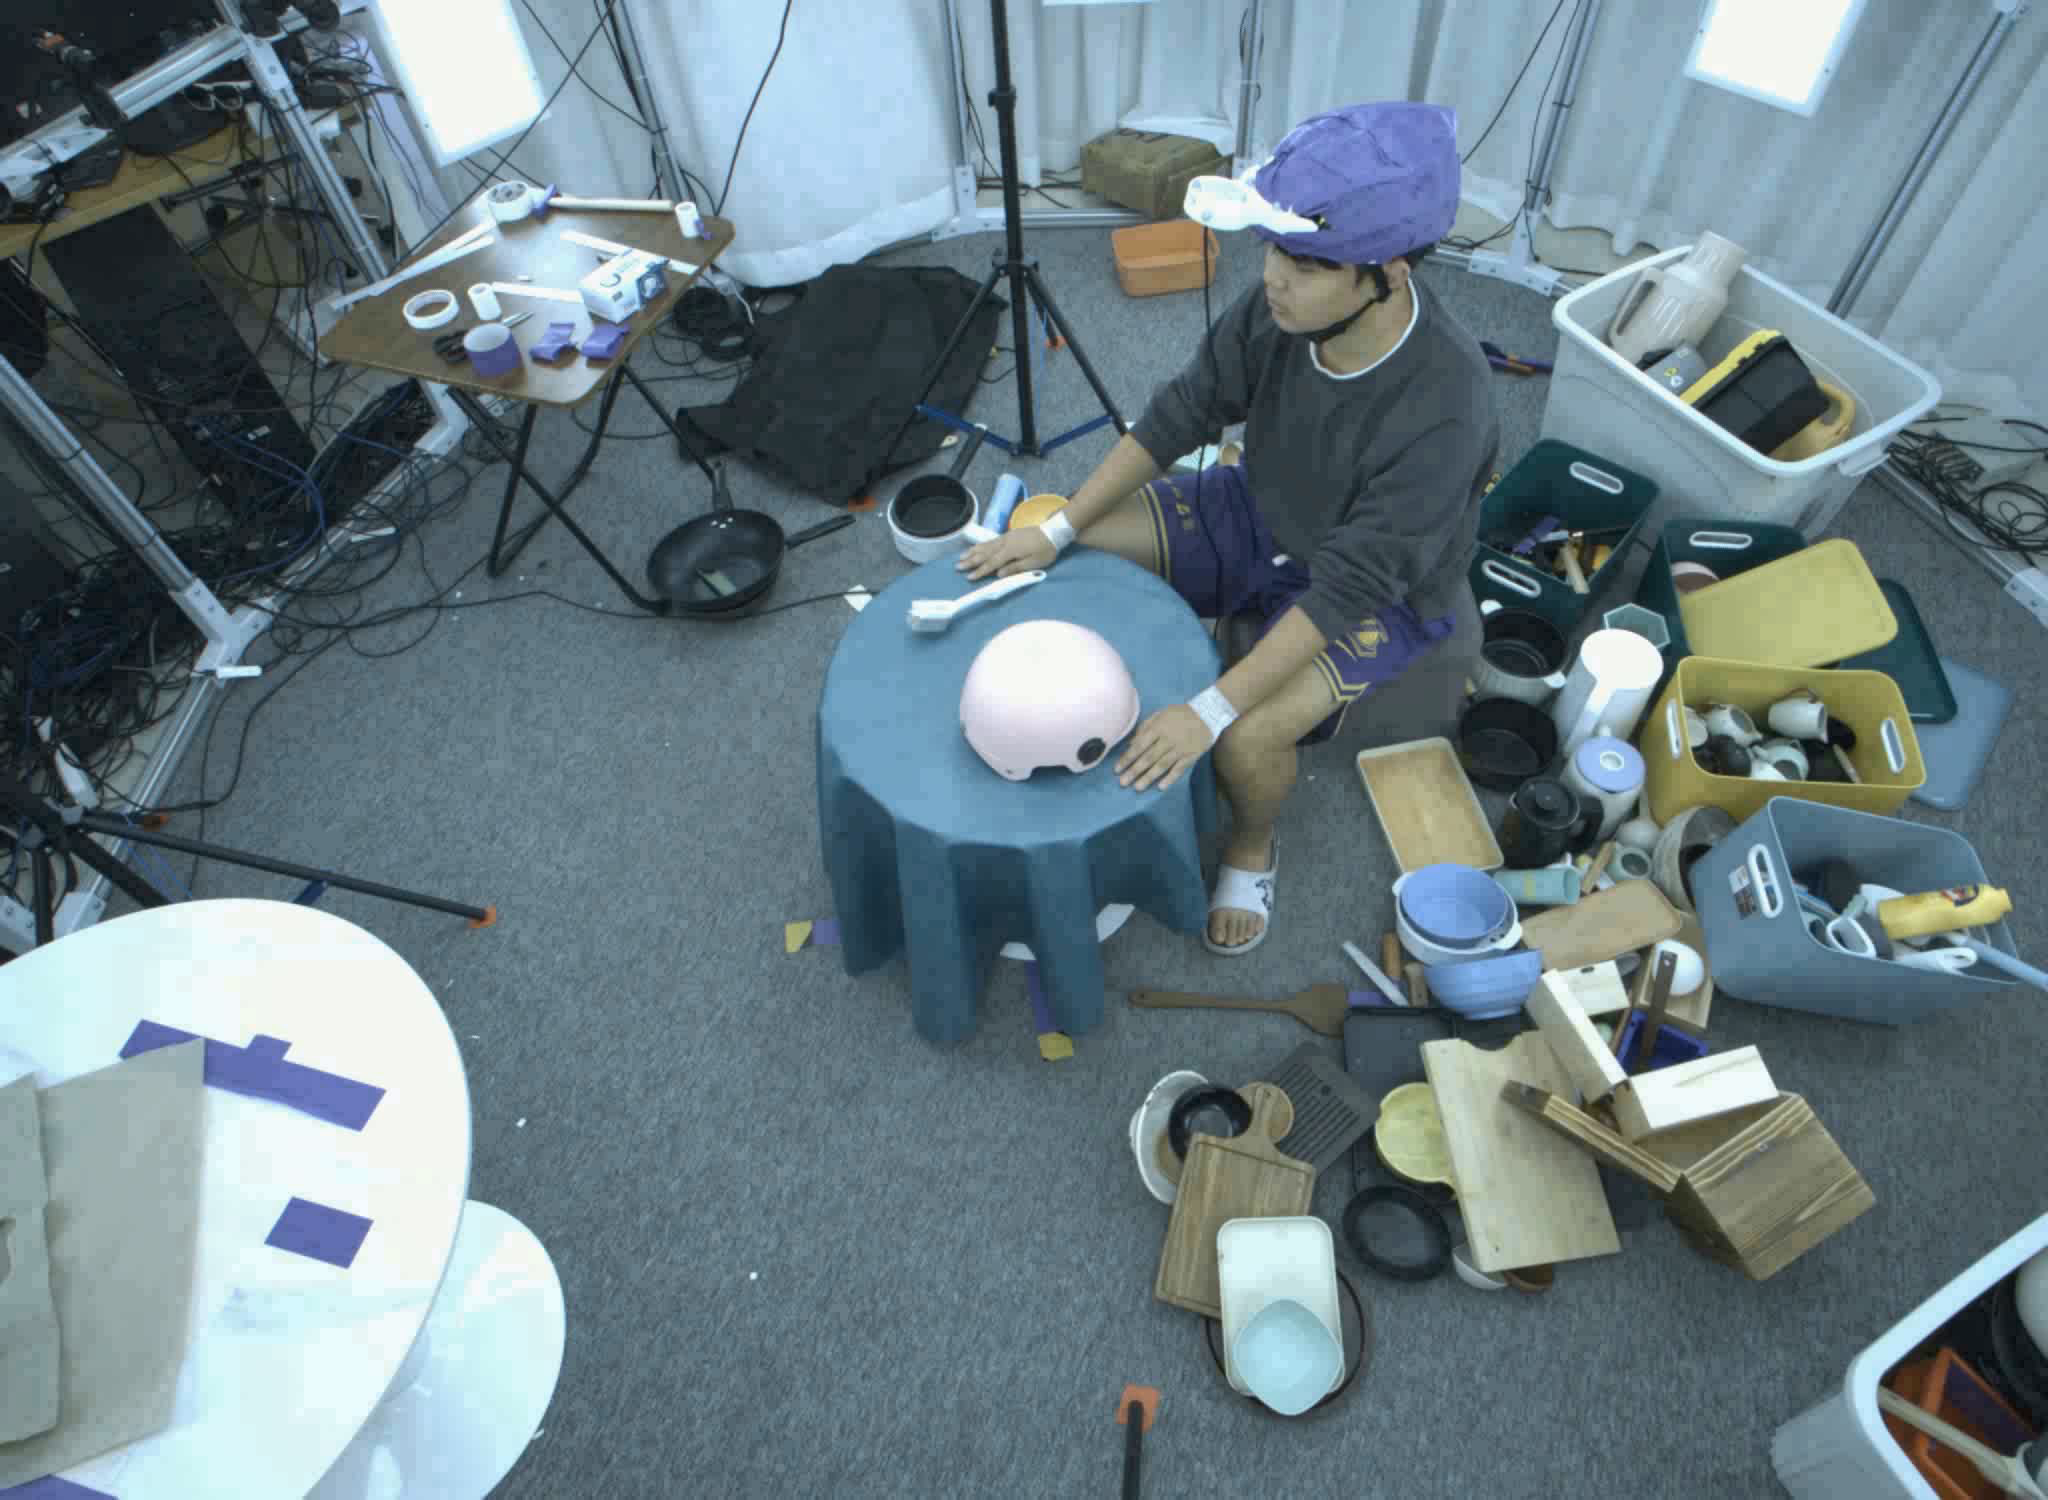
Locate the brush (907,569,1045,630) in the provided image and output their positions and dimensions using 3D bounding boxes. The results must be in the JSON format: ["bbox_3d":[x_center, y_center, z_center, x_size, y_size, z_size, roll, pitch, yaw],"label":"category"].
[{"bbox_3d":[-0.073,-0.237,1.947,0.247,0.050,0.034,-20,51,-28],"label":"brush"}]

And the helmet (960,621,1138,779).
[{"bbox_3d":[0.038,-0.094,1.763,0.268,0.160,0.230,-15,54,-13],"label":"helmet"}]
